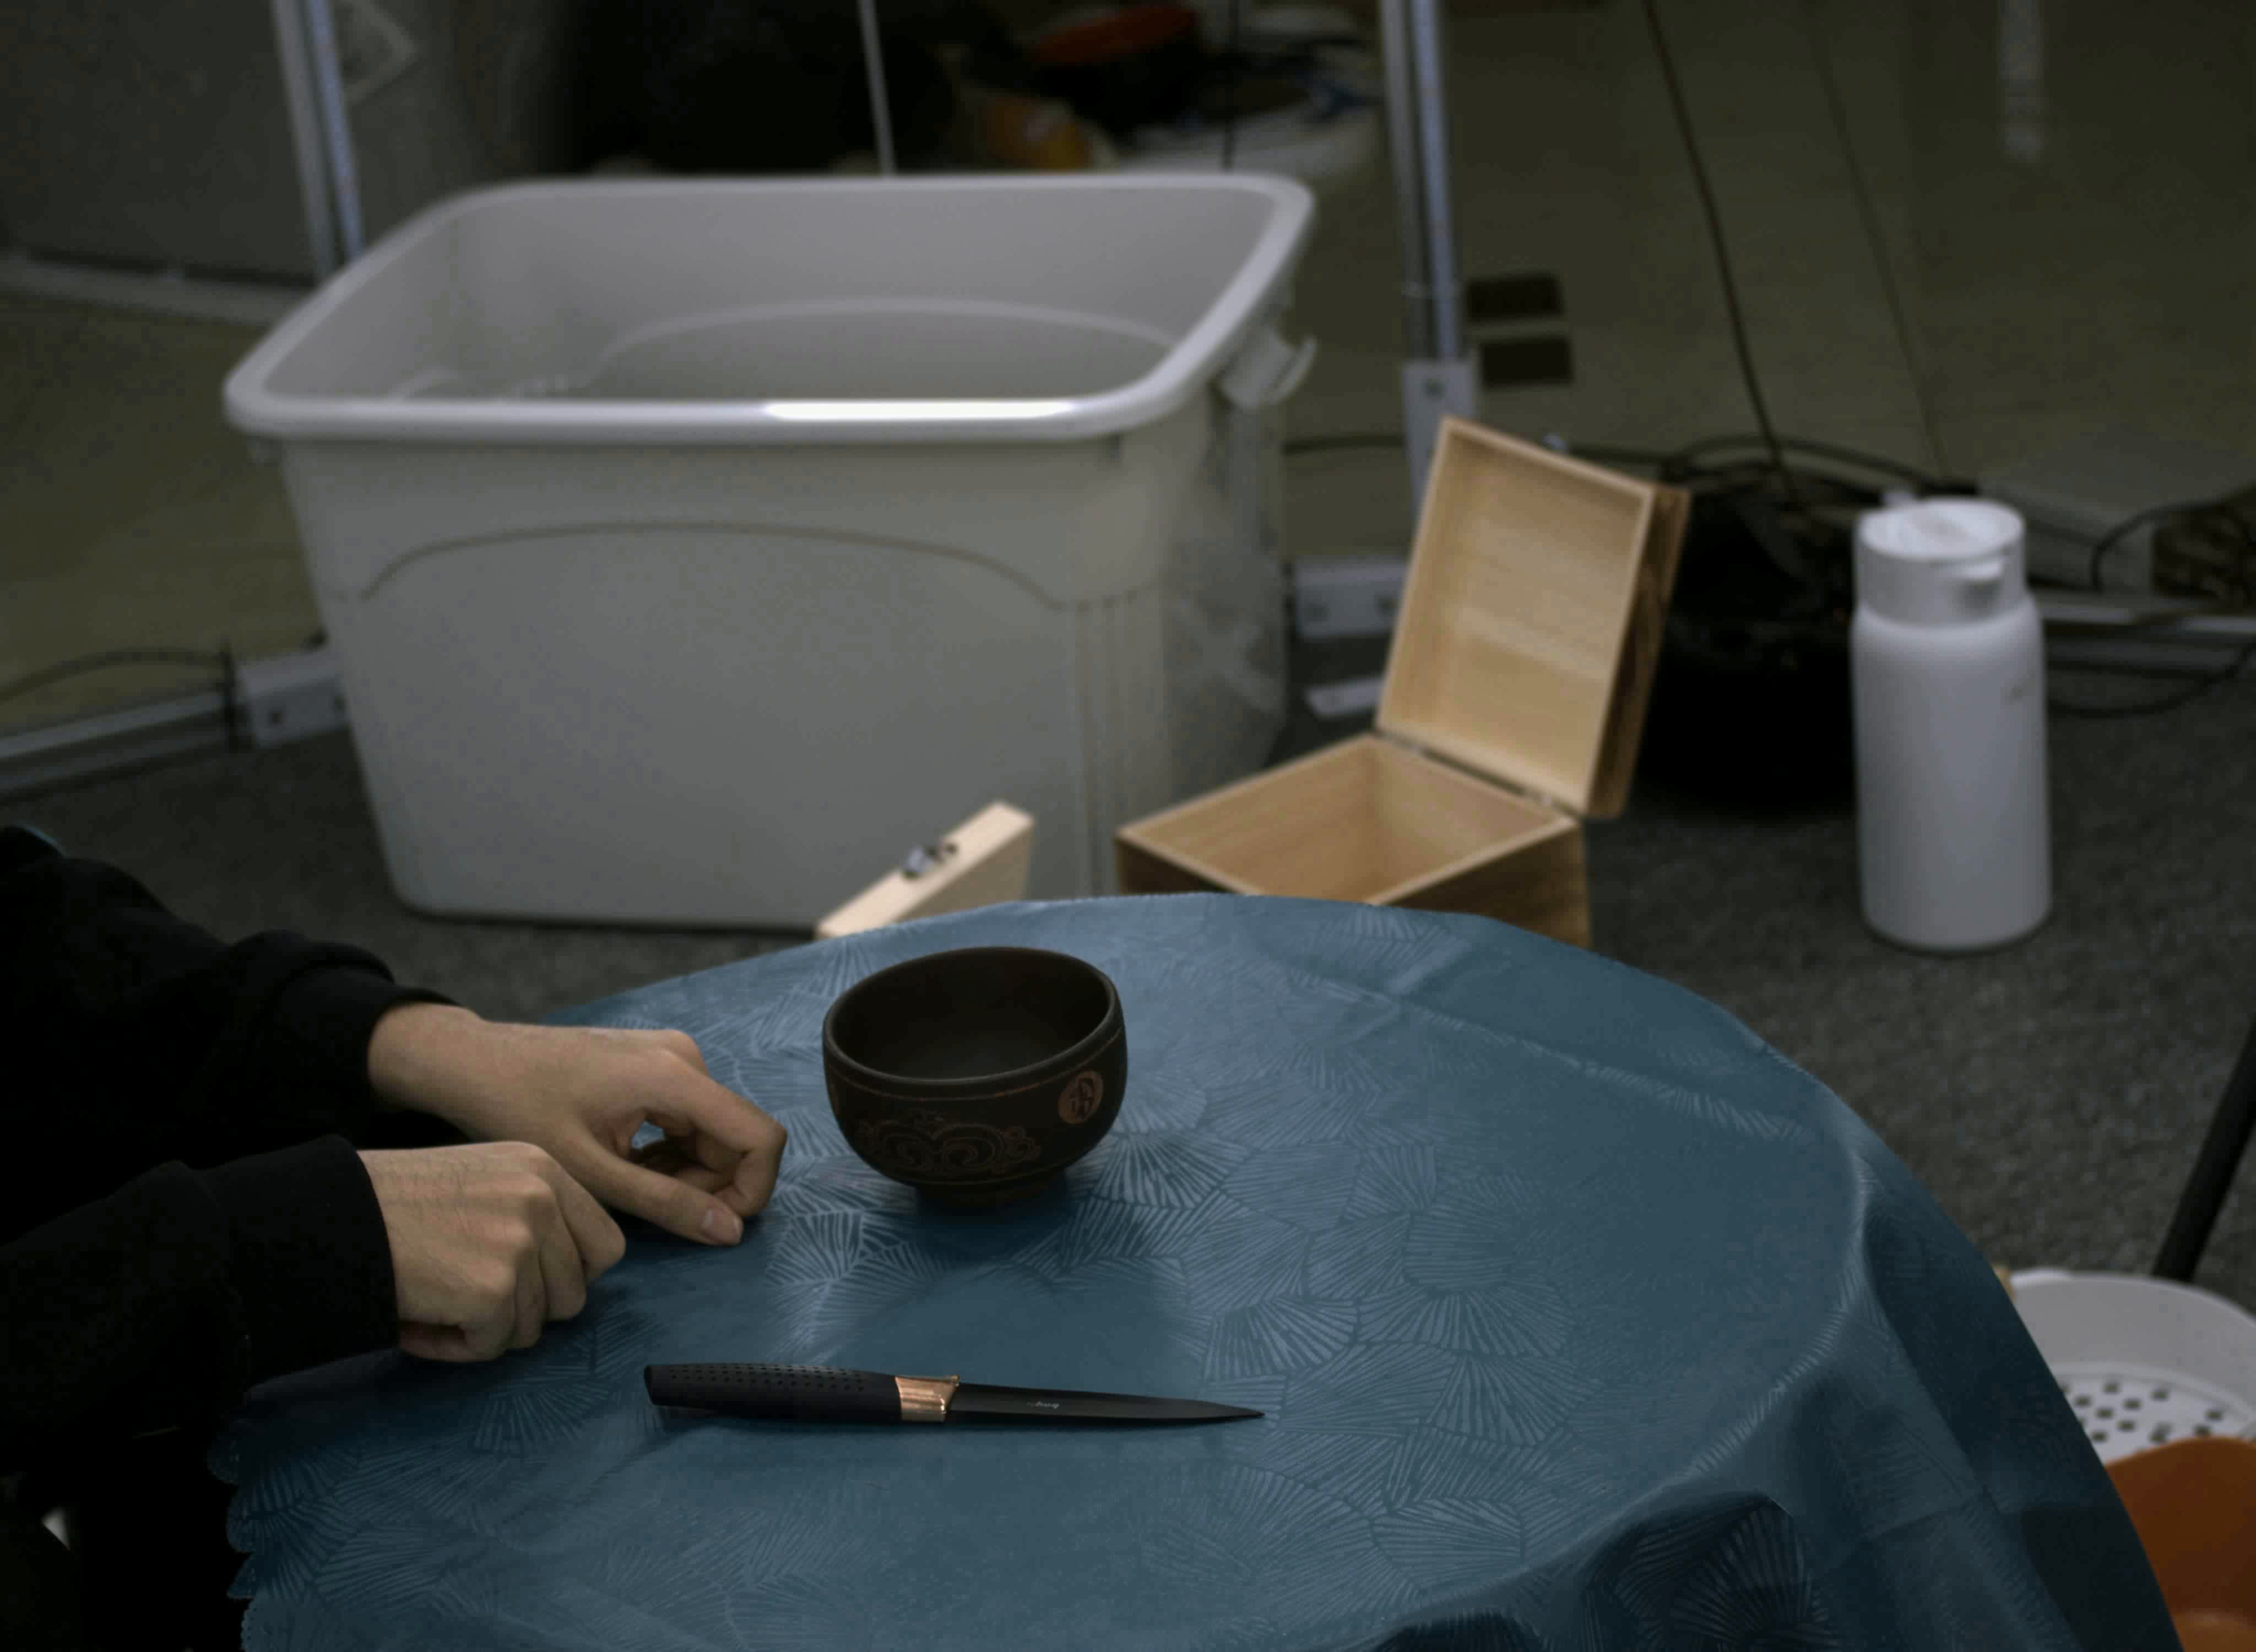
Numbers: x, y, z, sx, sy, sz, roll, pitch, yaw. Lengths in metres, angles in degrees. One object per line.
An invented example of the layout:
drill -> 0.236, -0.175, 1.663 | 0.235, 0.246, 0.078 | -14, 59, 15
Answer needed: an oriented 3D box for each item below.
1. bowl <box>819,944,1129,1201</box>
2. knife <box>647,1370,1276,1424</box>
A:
bowl -> -0.056, 0.099, 2.155 | 0.118, 0.071, 0.116 | -6, 23, 3
knife -> -0.060, 0.203, 2.013 | 0.225, 0.017, 0.026 | -1, 18, 10
